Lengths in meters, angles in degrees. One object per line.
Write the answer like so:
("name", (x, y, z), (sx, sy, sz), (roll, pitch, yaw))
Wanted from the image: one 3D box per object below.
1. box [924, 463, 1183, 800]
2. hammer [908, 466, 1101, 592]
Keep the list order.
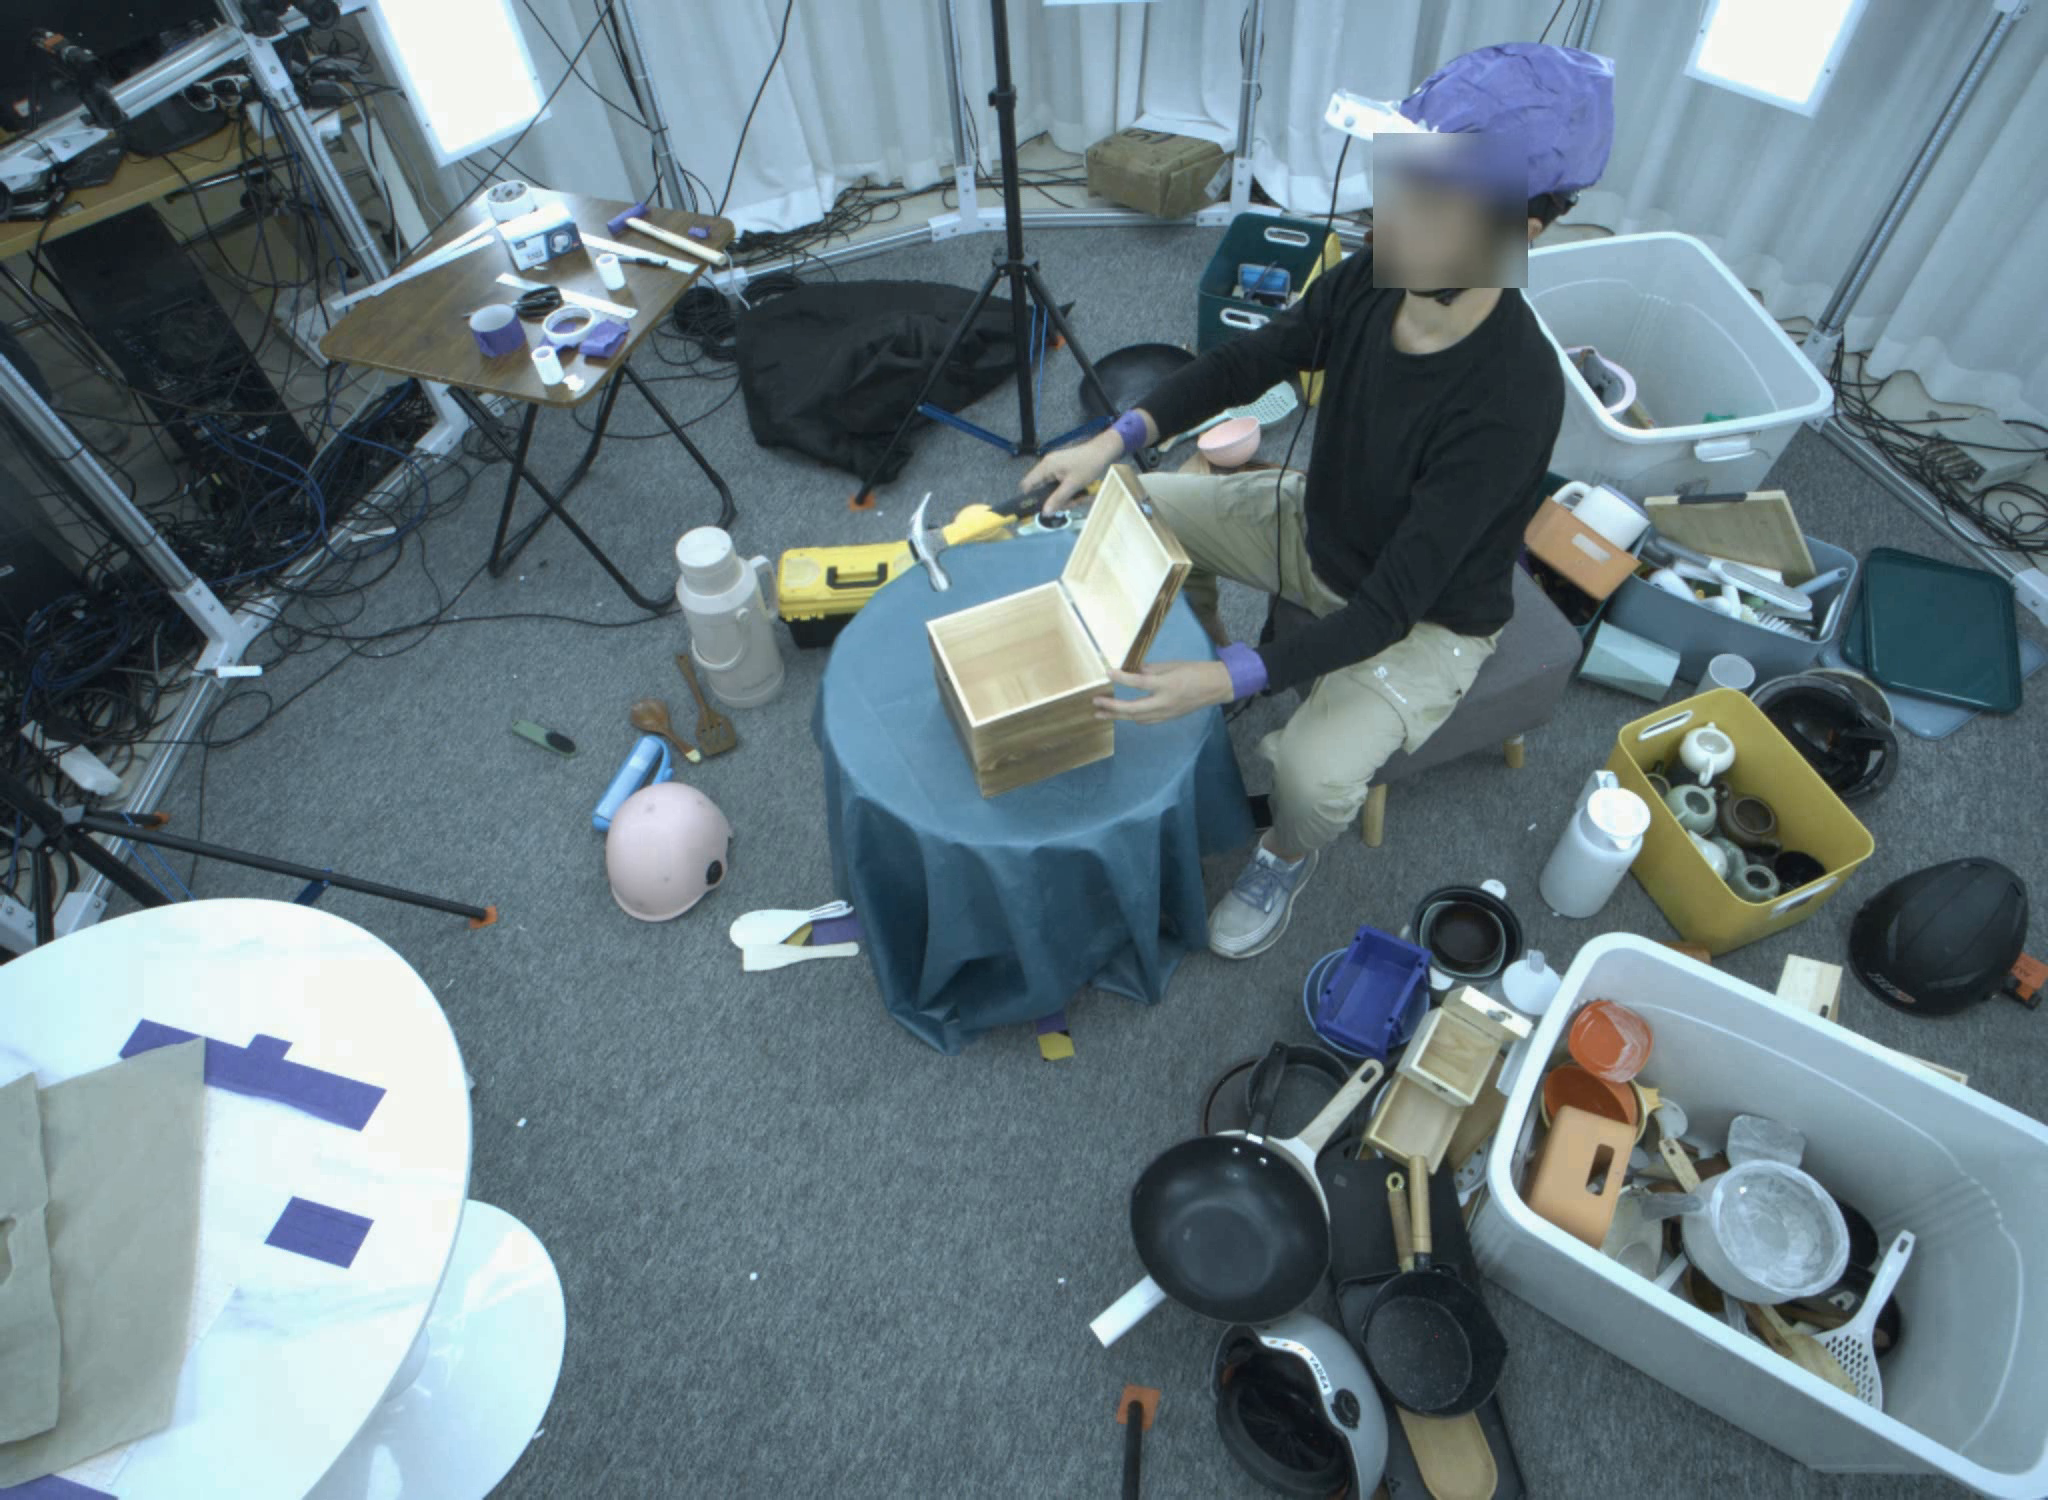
("box", (0.037, -0.160, 1.673), (0.324, 0.379, 0.205), (-19, 55, -10))
("hammer", (-0.021, -0.349, 1.784), (0.342, 0.032, 0.132), (-27, 96, -29))
